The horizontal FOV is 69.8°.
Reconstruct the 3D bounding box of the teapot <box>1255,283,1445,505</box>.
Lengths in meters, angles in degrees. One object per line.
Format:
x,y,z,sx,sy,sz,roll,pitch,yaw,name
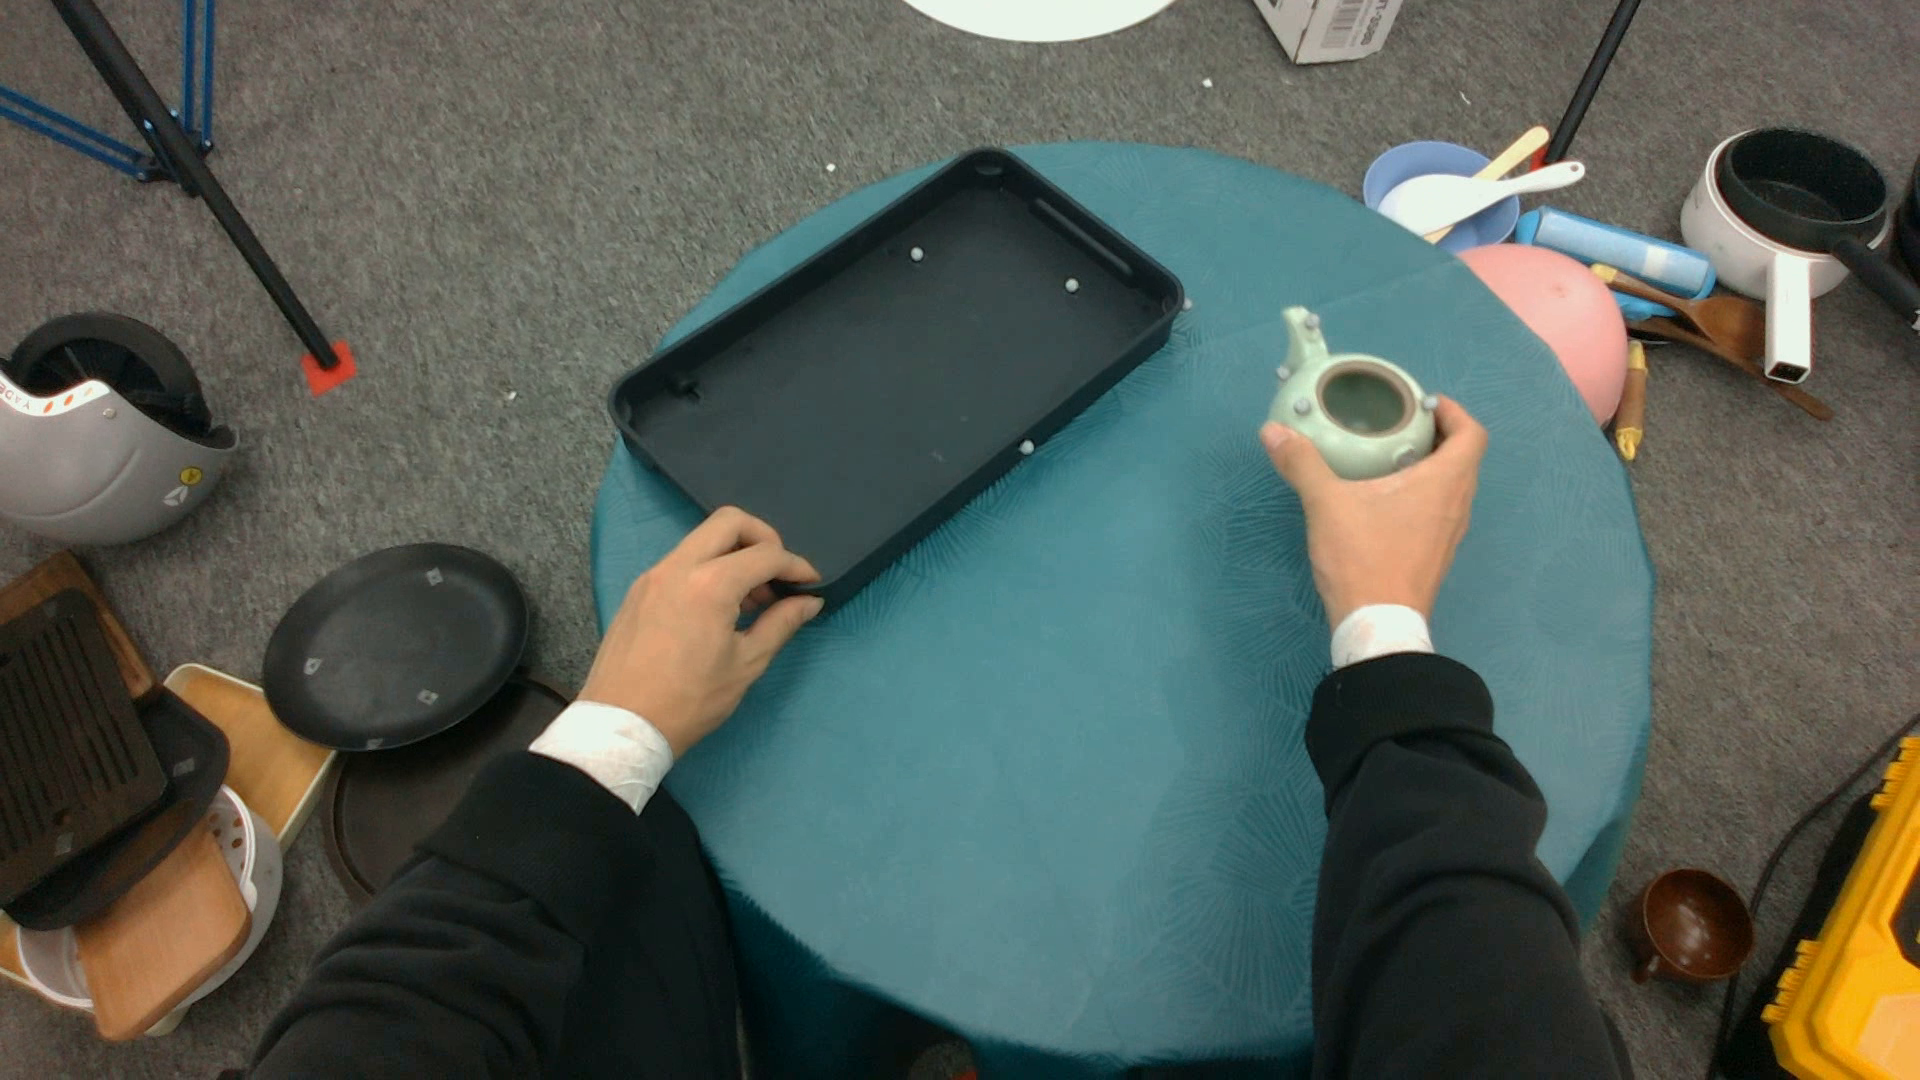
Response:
0.205,-0.070,0.748,0.088,0.074,0.144,-23,60,-17,teapot

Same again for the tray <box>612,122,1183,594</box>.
-0.030,-0.120,0.817,0.184,0.037,0.319,40,64,19,tray
